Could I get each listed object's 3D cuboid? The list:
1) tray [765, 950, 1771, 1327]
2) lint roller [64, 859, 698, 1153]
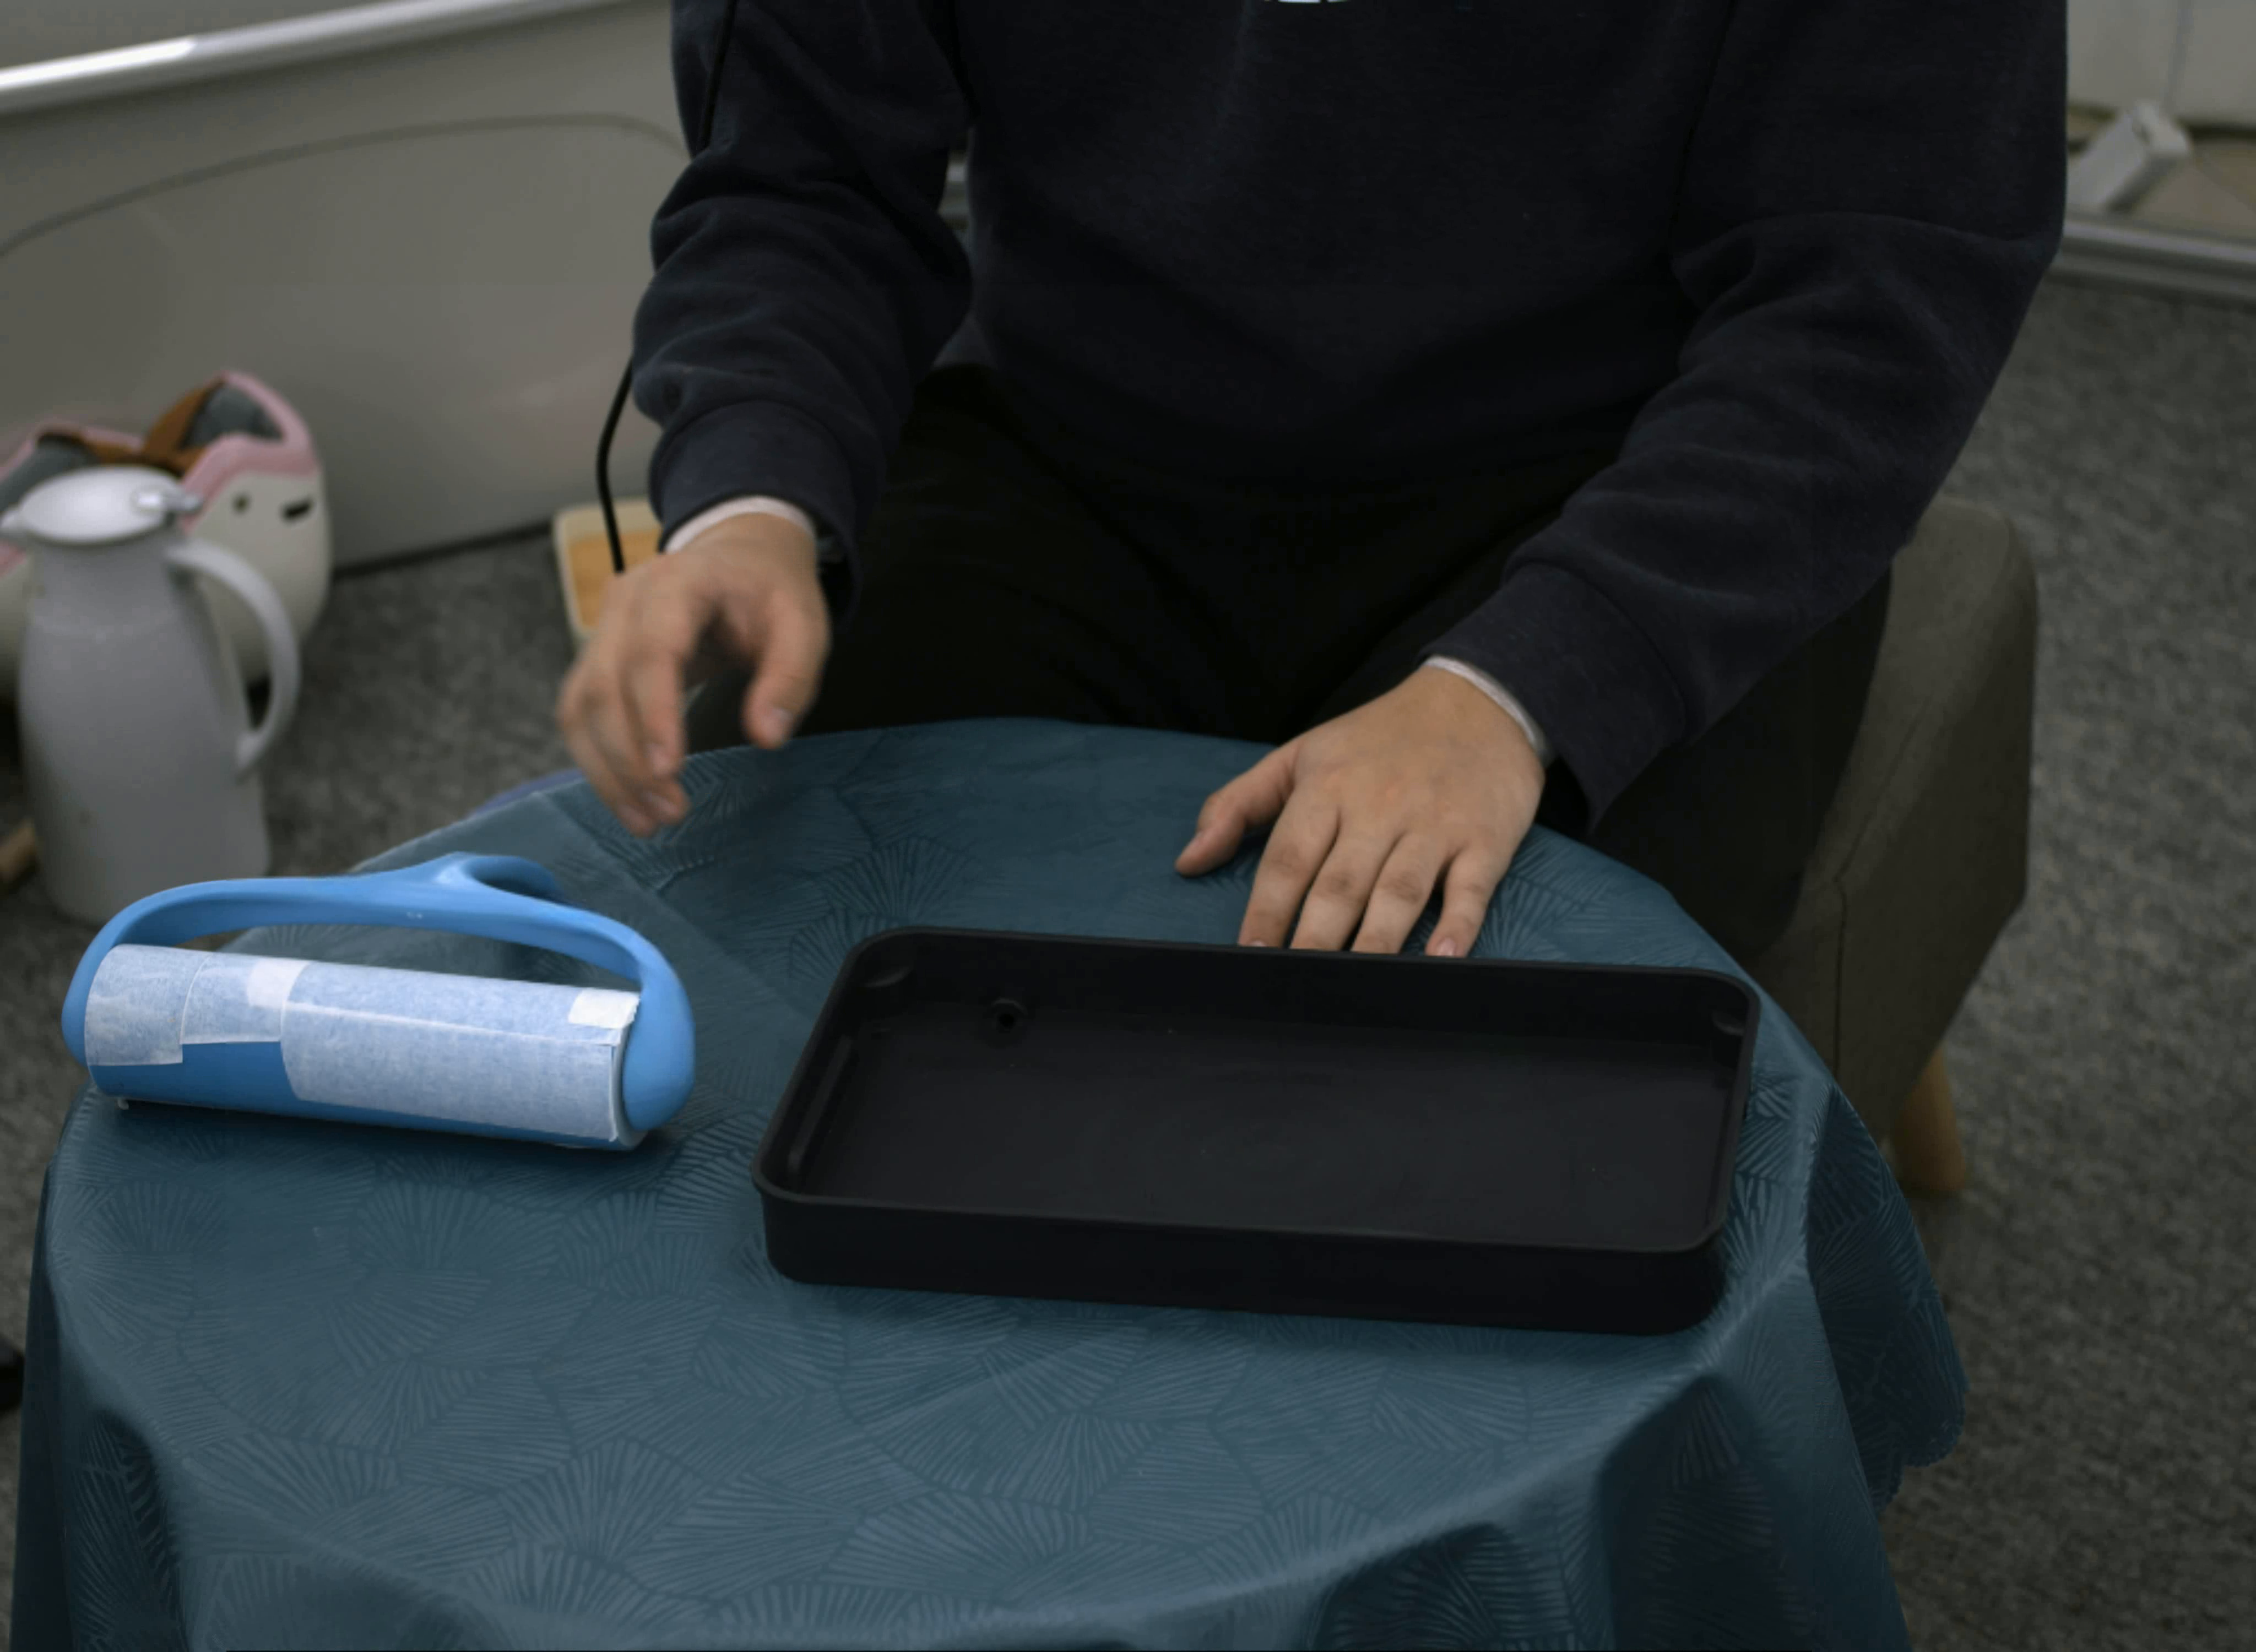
[{"bbox_3d":[0.050,0.101,1.867,0.316,0.036,0.187,0,27,10],"label":"tray"},{"bbox_3d":[-0.242,0.046,1.967,0.227,0.067,0.183,2,29,14],"label":"lint roller"}]
